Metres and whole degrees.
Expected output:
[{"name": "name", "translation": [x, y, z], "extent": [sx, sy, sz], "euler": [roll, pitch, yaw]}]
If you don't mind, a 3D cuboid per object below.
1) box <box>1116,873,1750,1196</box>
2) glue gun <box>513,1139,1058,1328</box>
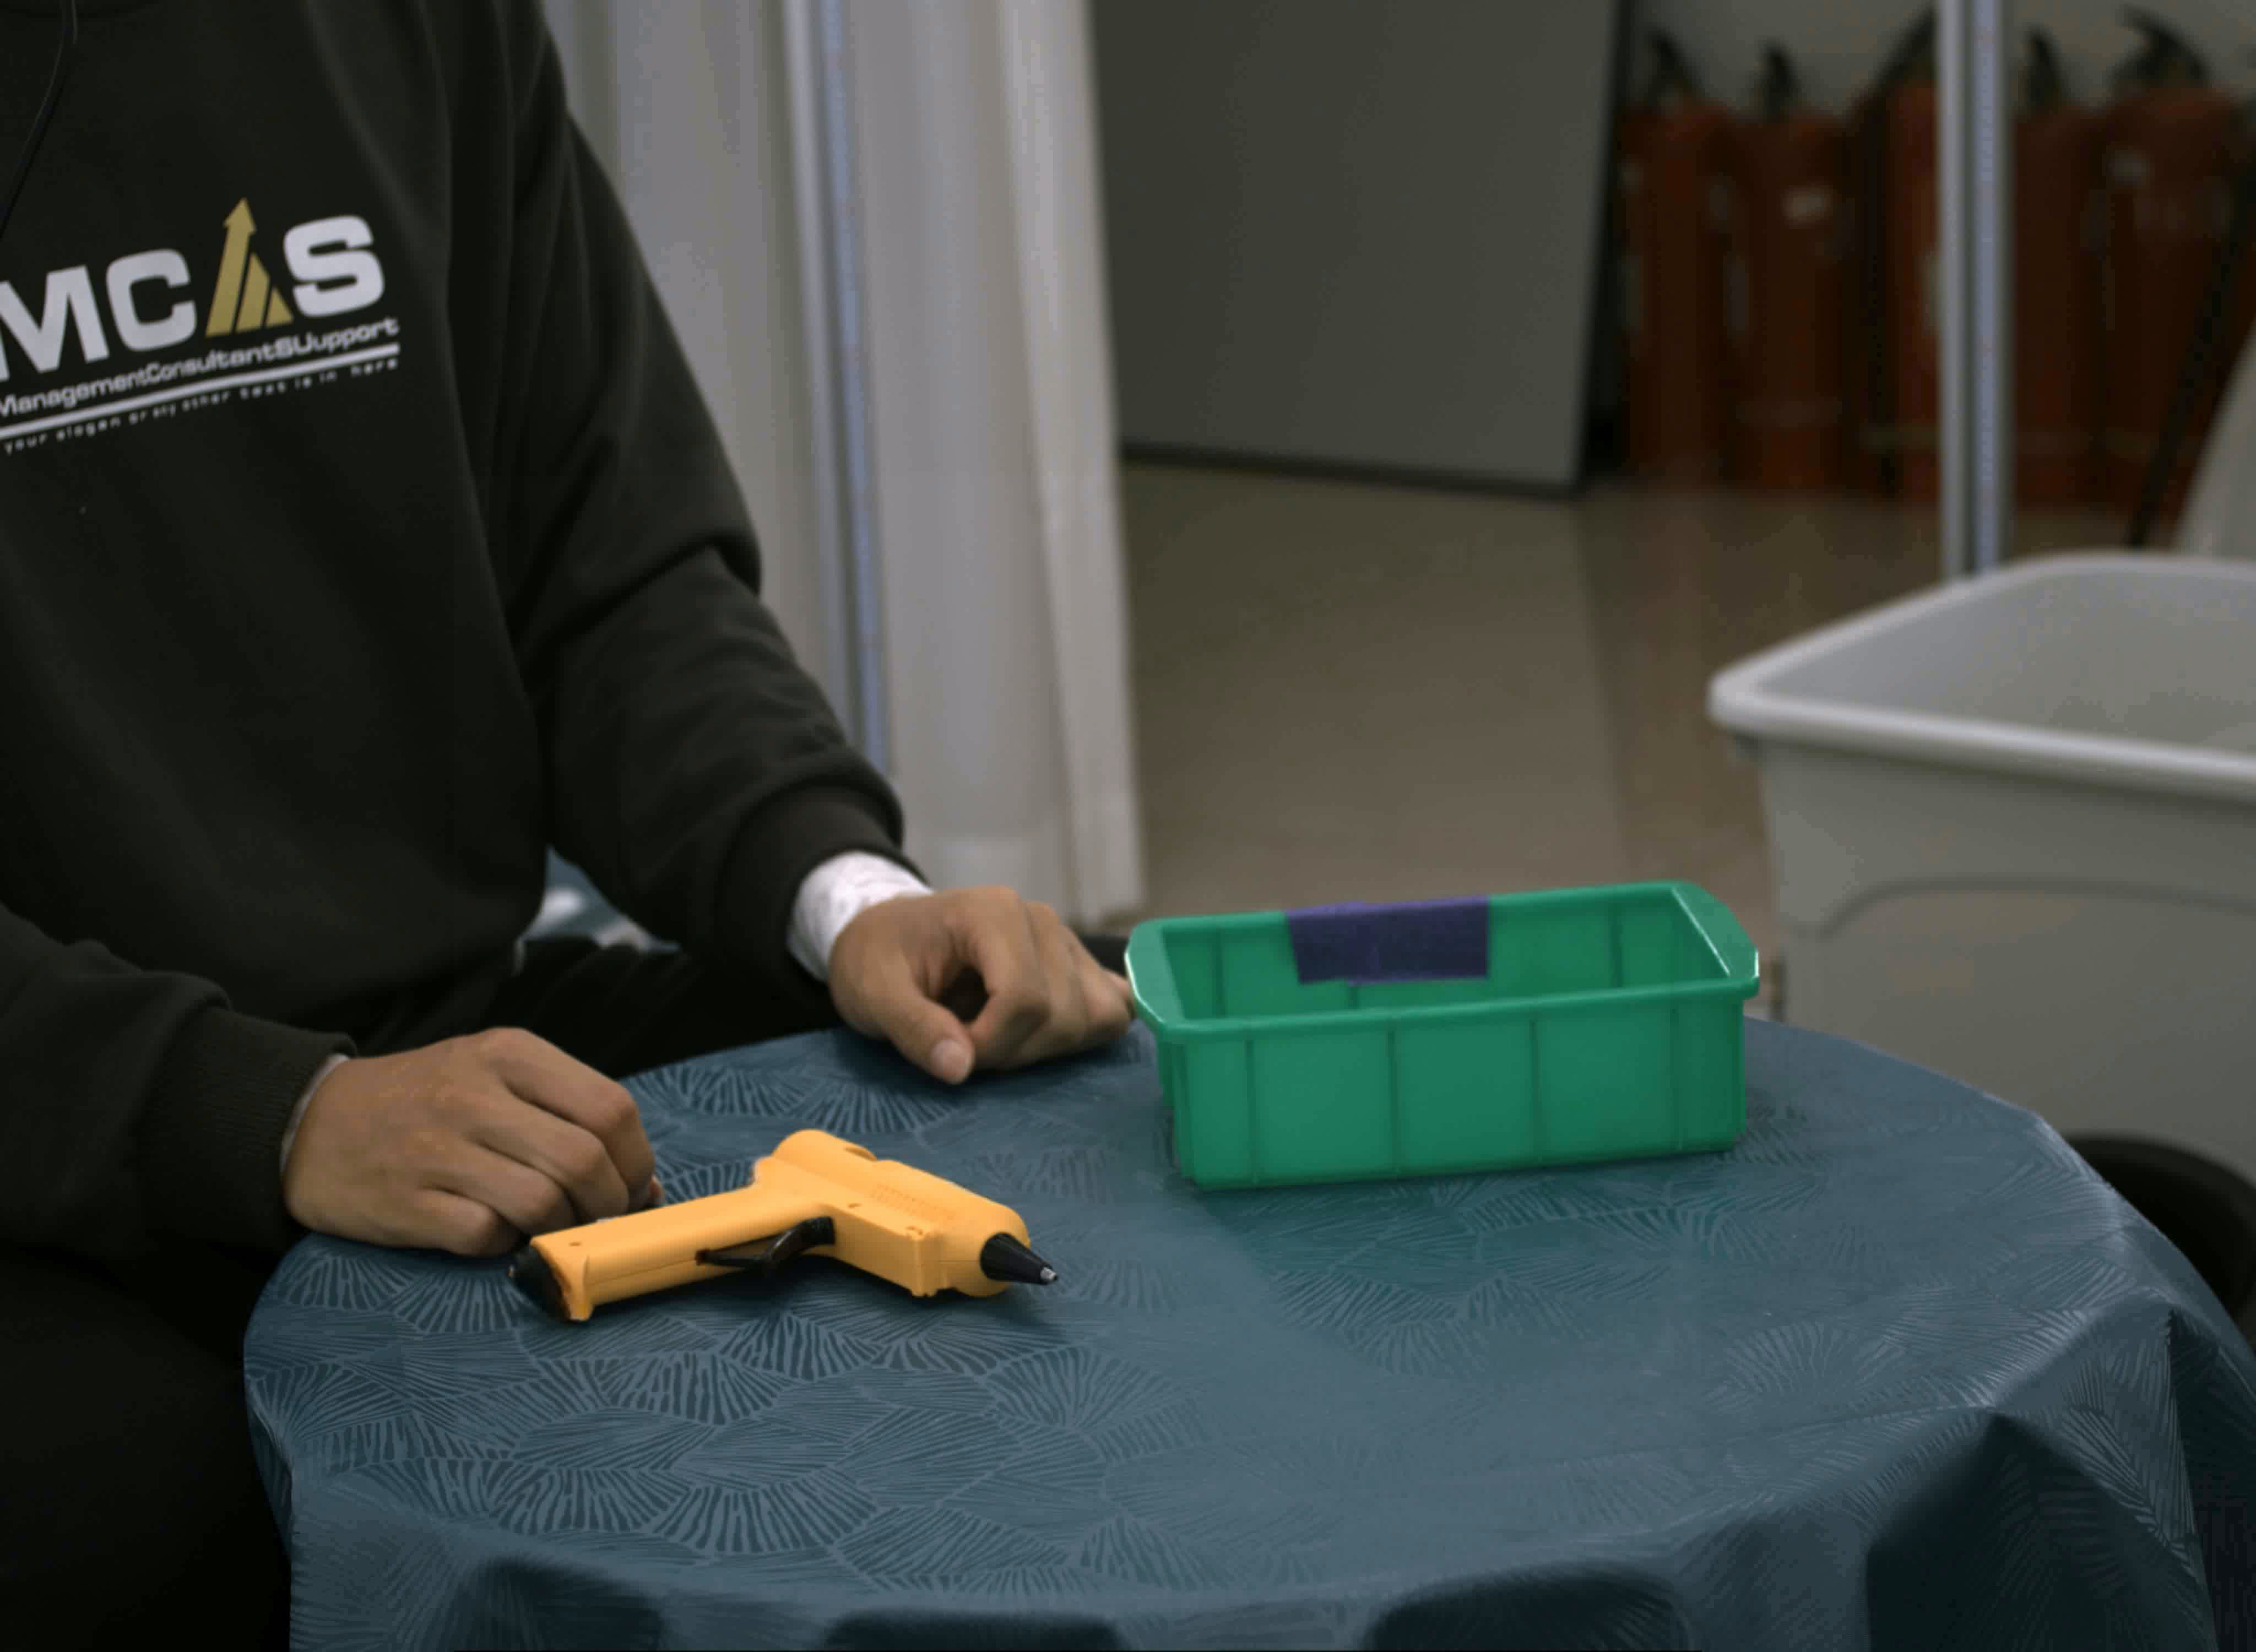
[{"name": "box", "translation": [0.103, 0.071, 1.821], "extent": [0.207, 0.066, 0.139], "euler": [-7, 12, -3]}, {"name": "glue gun", "translation": [-0.099, 0.138, 1.688], "extent": [0.130, 0.031, 0.153], "euler": [-16, 18, -36]}]
